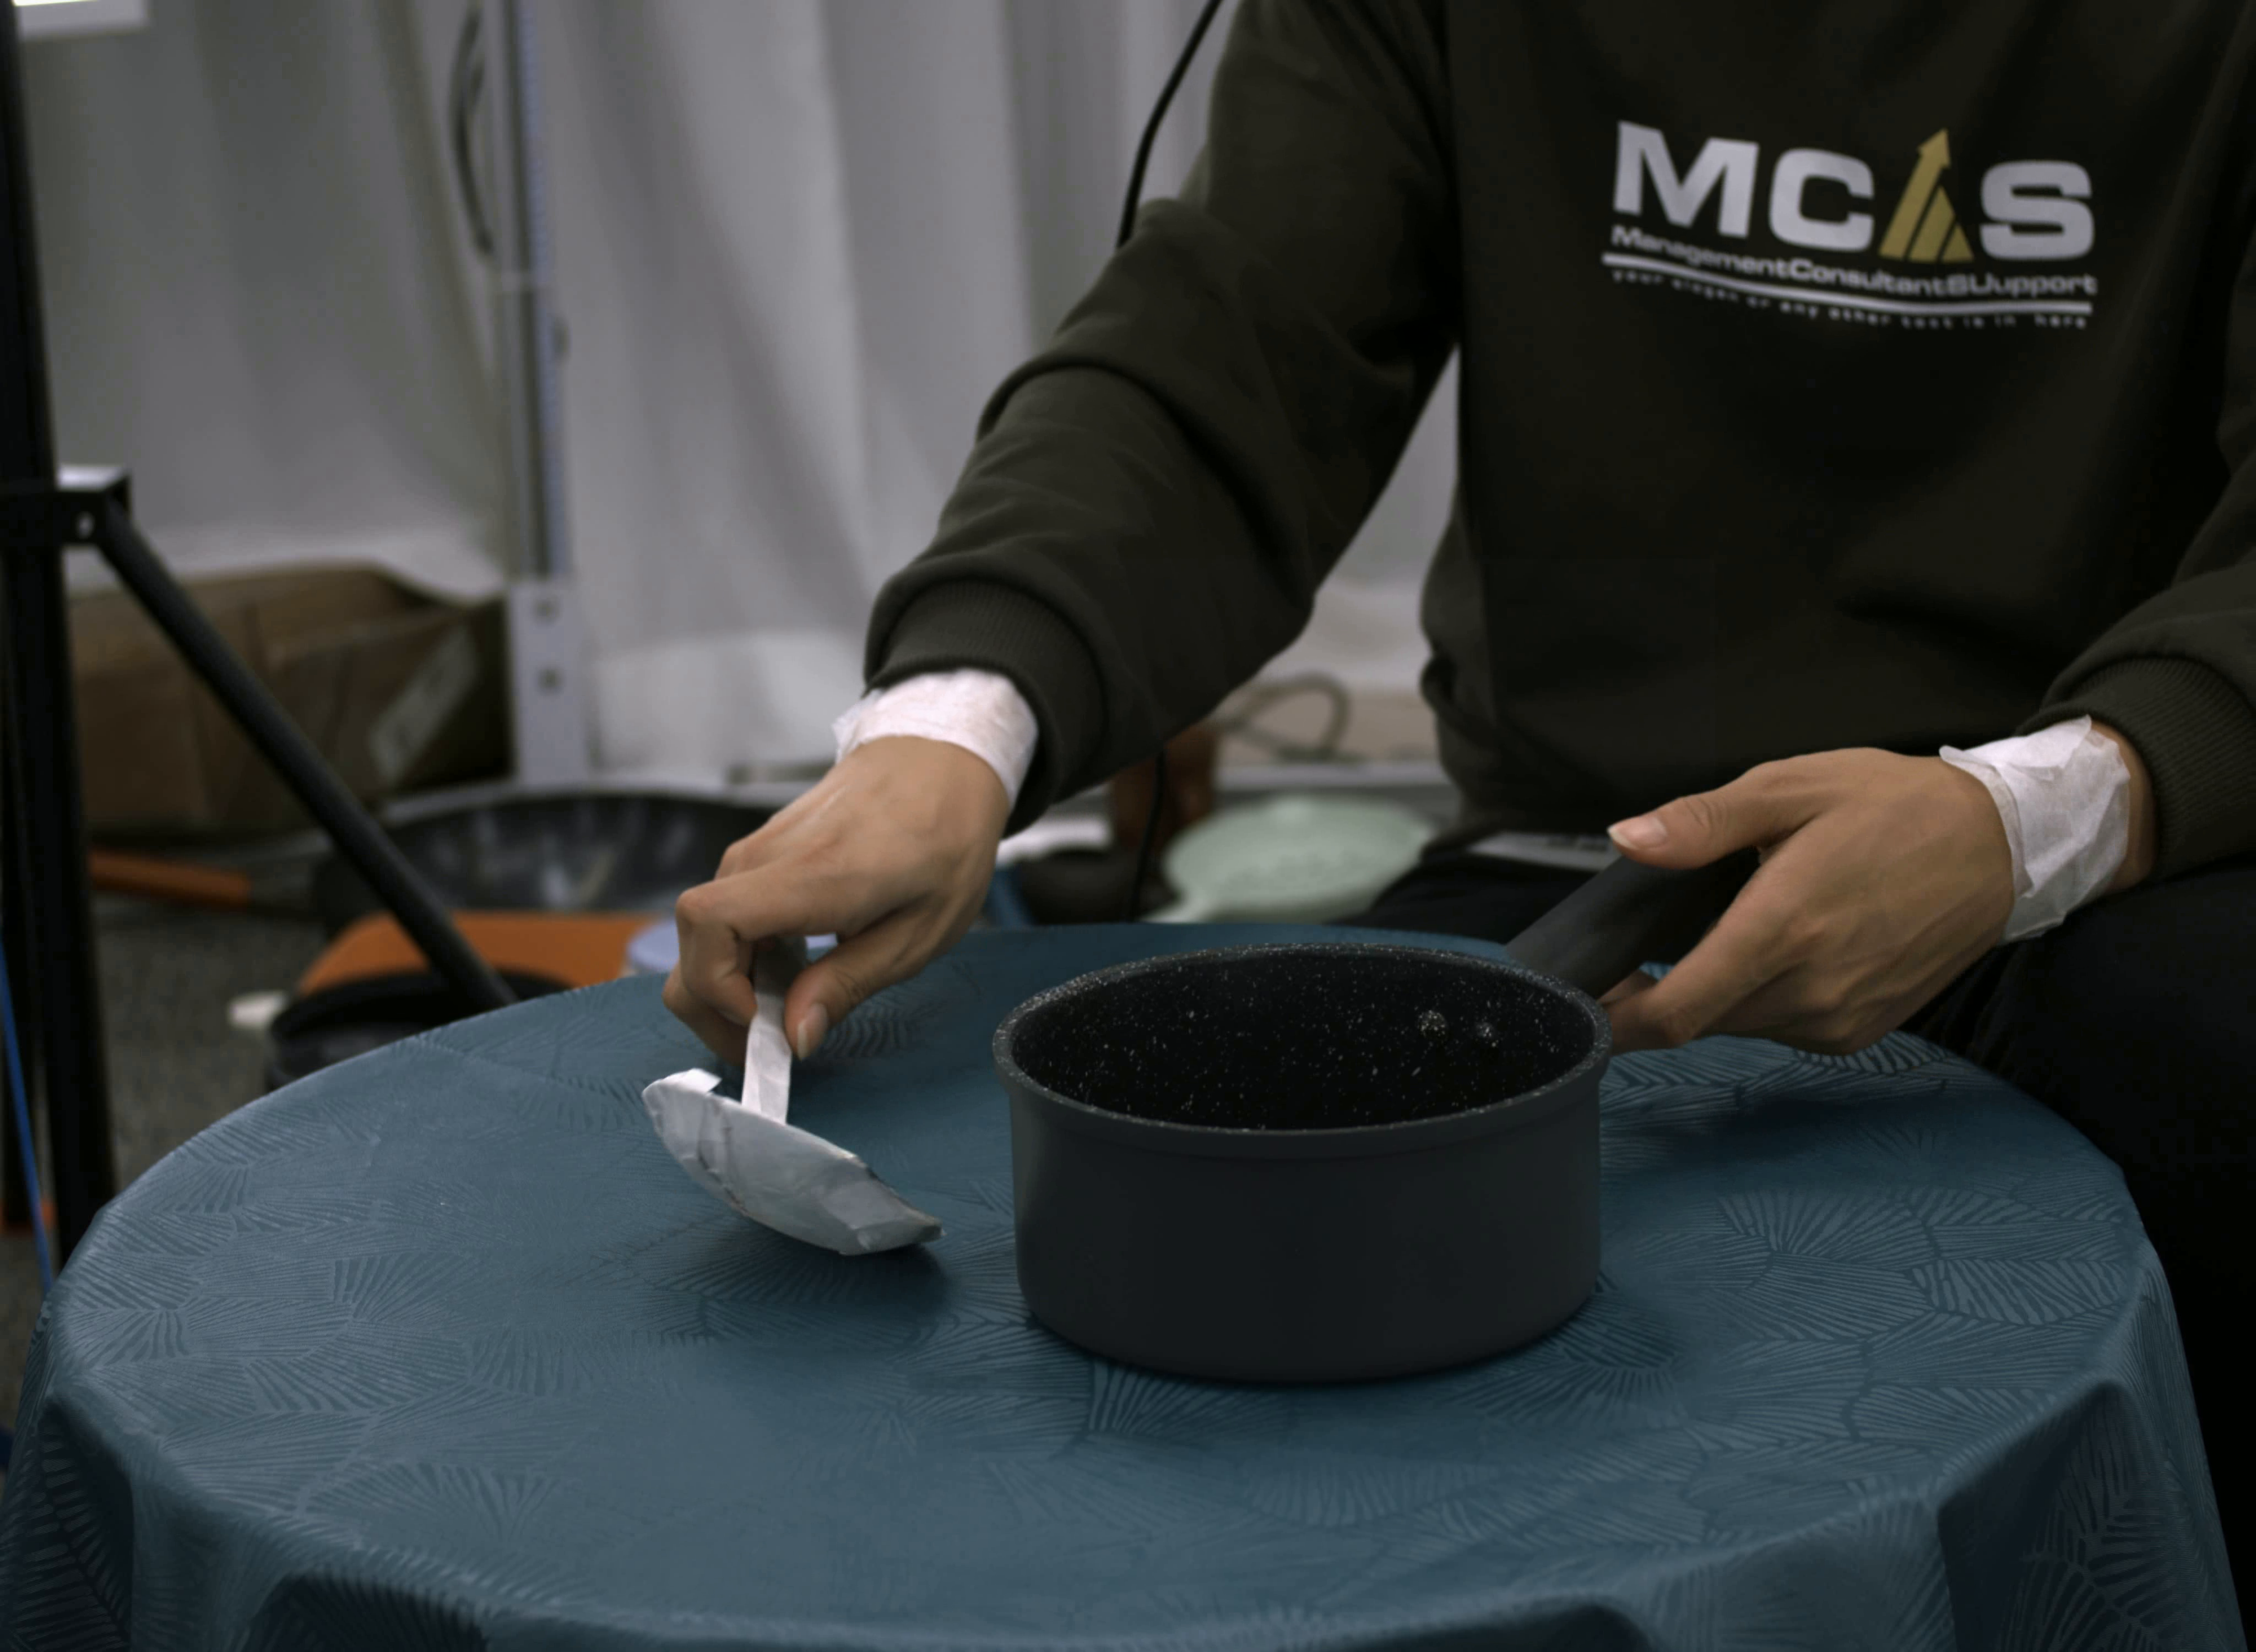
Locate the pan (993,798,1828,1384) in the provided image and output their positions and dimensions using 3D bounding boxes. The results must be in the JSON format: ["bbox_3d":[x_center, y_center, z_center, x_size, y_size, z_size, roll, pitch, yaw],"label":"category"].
[{"bbox_3d":[0.099,0.072,1.524,0.176,0.086,0.321,12,22,39],"label":"pan"}]

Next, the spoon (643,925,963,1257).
[{"bbox_3d":[-0.090,0.064,1.600,0.100,0.060,0.278,30,18,-8],"label":"spoon"}]
